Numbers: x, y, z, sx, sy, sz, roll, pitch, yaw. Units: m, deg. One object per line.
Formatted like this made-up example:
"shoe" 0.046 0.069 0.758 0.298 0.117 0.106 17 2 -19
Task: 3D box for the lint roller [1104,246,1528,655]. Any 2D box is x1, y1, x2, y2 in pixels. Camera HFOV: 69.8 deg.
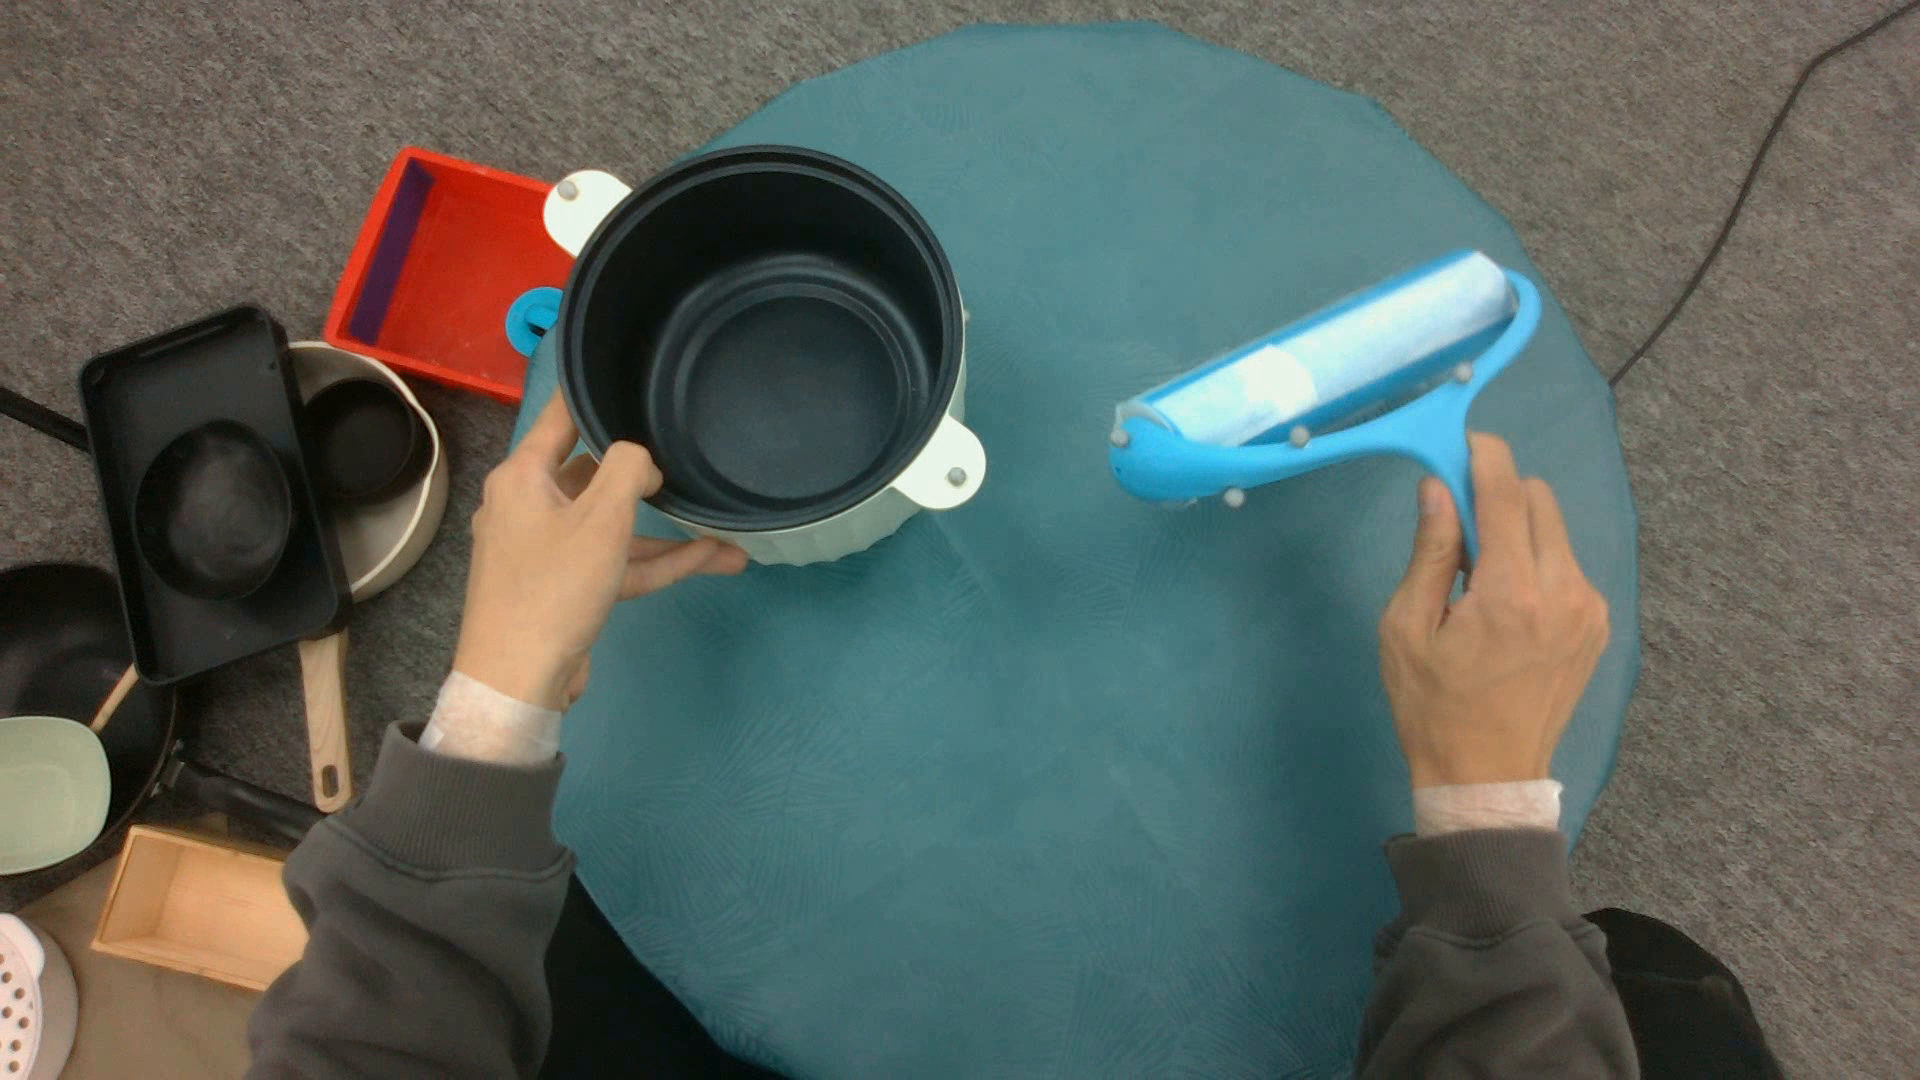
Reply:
"lint roller" 0.195 -0.034 0.611 0.230 0.067 0.180 -30 67 -25

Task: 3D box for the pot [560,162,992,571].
"pot" -0.081 -0.080 0.690 0.240 0.142 0.190 35 85 8
